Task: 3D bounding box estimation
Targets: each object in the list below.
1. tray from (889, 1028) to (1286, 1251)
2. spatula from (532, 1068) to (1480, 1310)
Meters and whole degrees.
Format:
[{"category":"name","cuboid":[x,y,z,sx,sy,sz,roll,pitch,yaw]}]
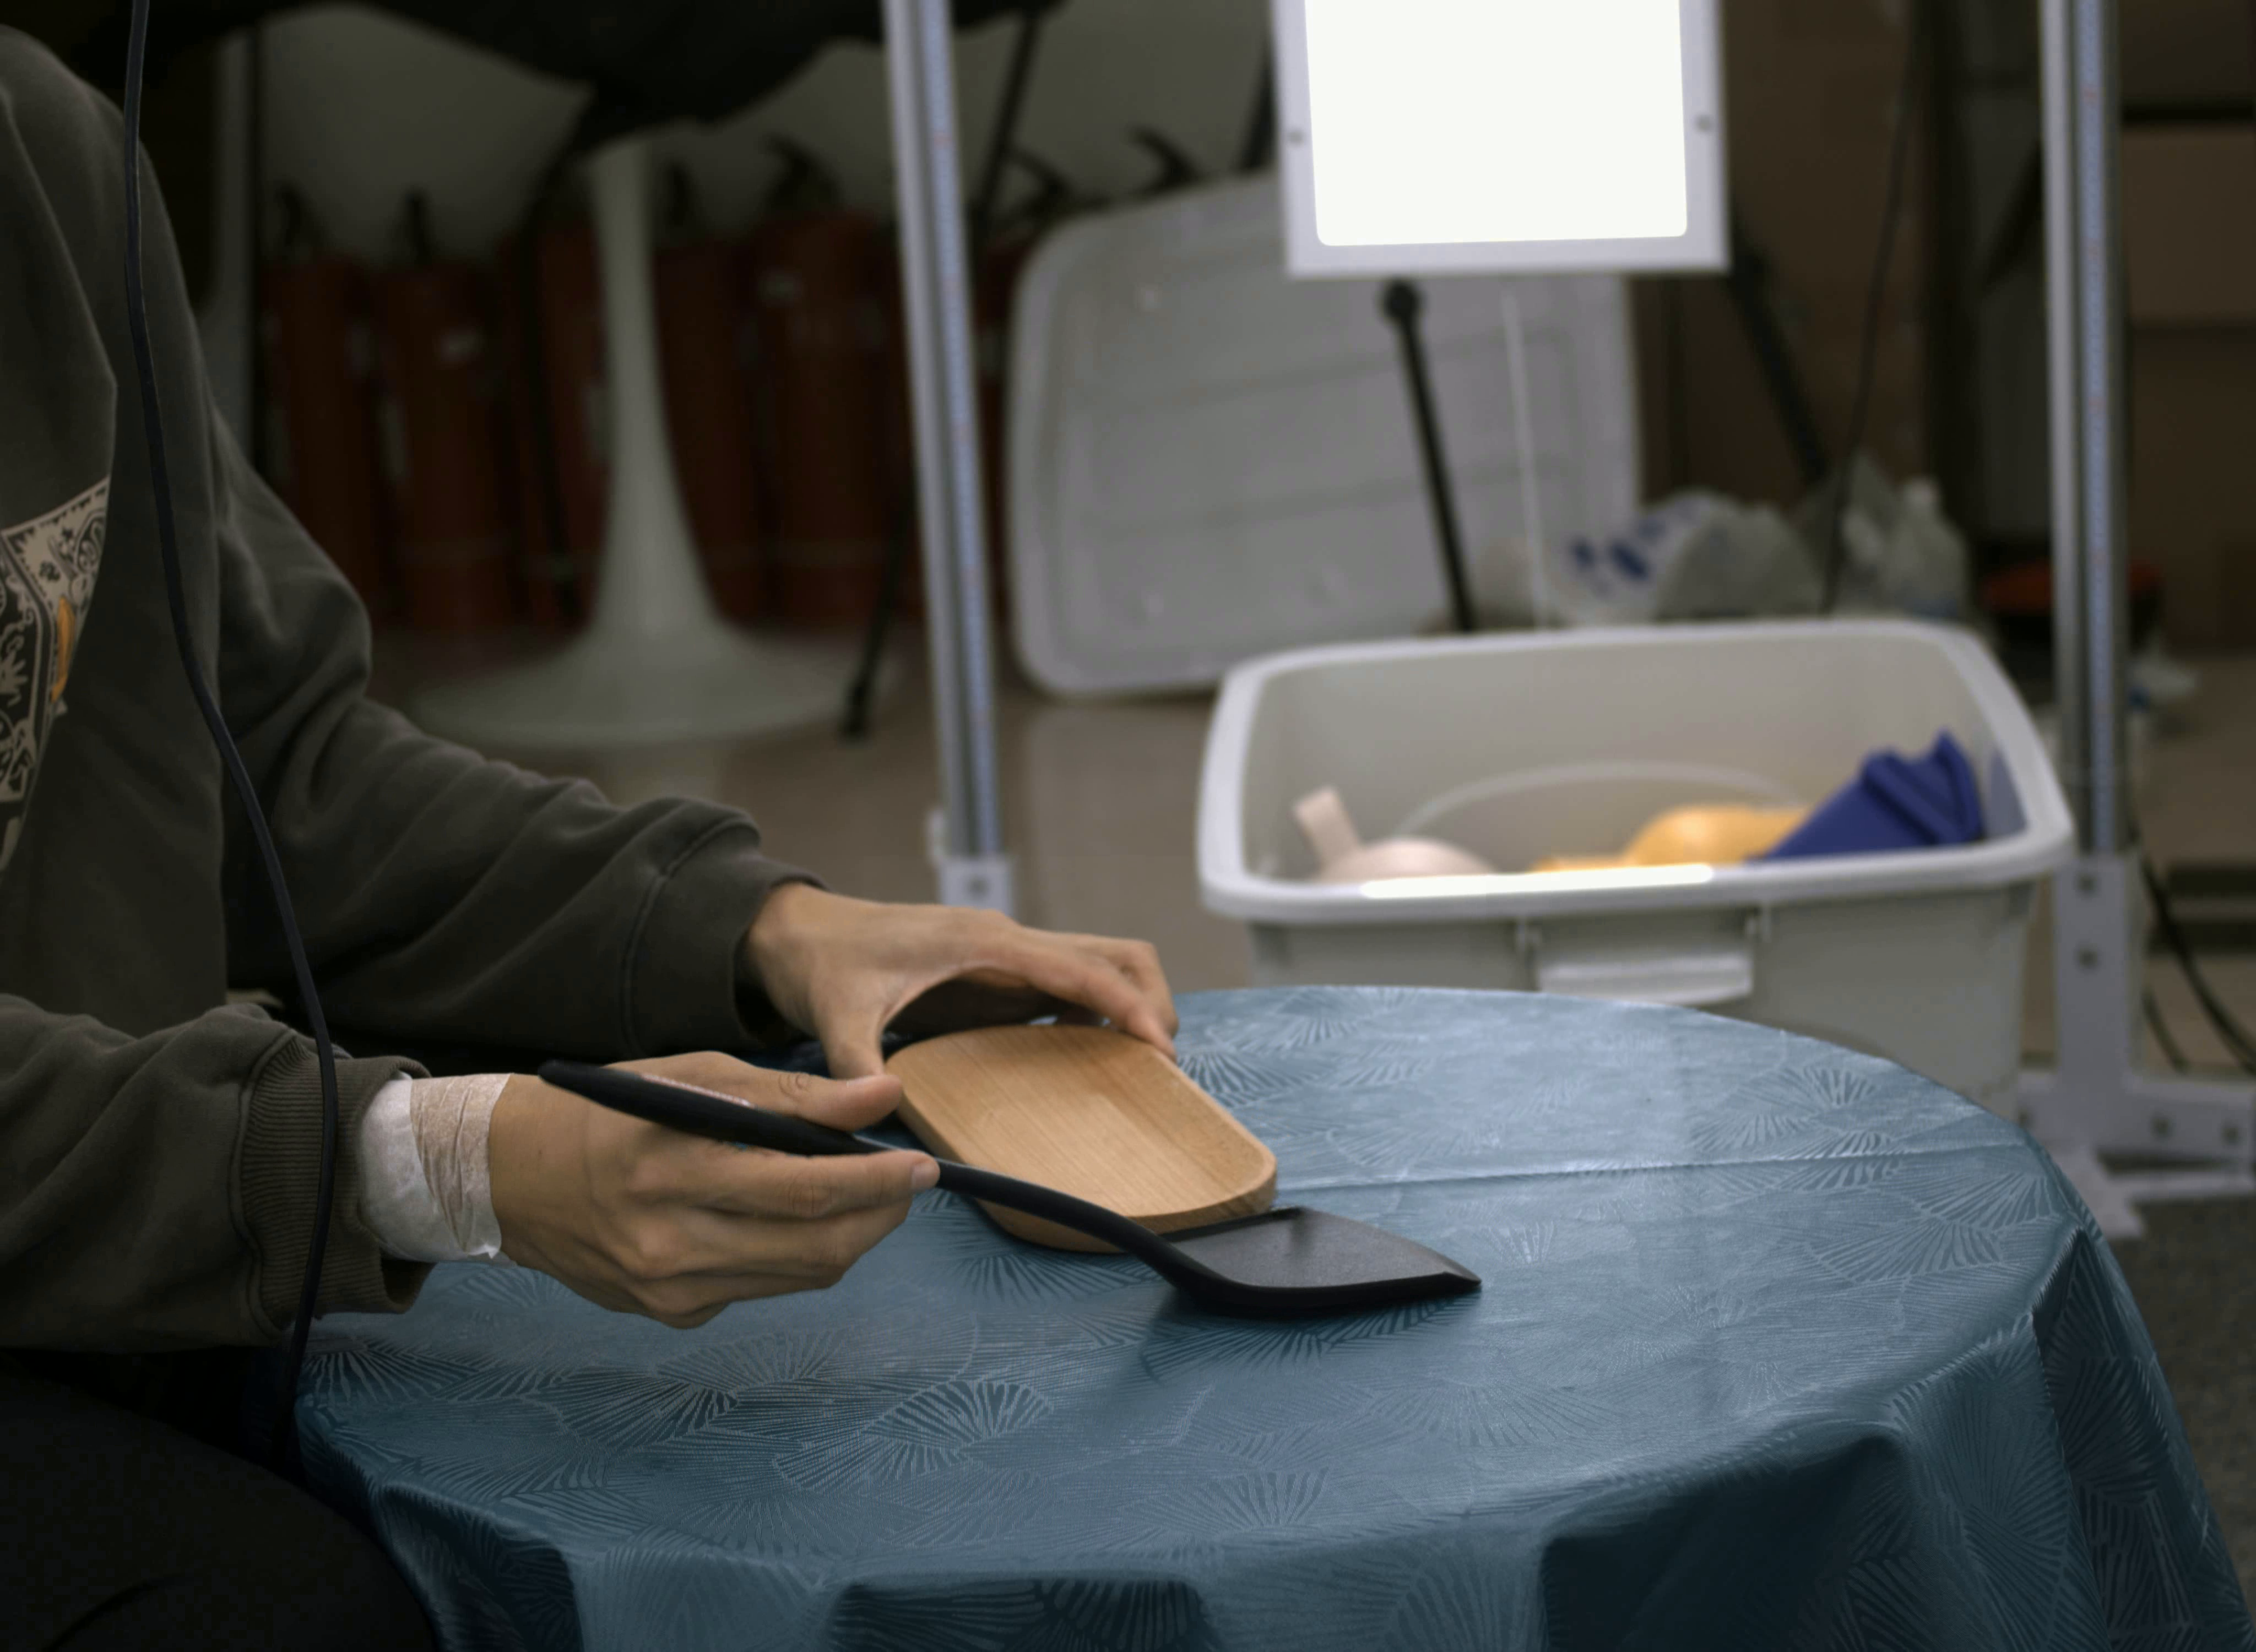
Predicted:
[{"category":"tray","cuboid":[-0.016,0.108,1.934,0.100,0.020,0.233,-8,16,-15]},{"category":"spatula","cuboid":[-0.041,0.110,1.737,0.320,0.040,0.101,20,-1,-27]}]
